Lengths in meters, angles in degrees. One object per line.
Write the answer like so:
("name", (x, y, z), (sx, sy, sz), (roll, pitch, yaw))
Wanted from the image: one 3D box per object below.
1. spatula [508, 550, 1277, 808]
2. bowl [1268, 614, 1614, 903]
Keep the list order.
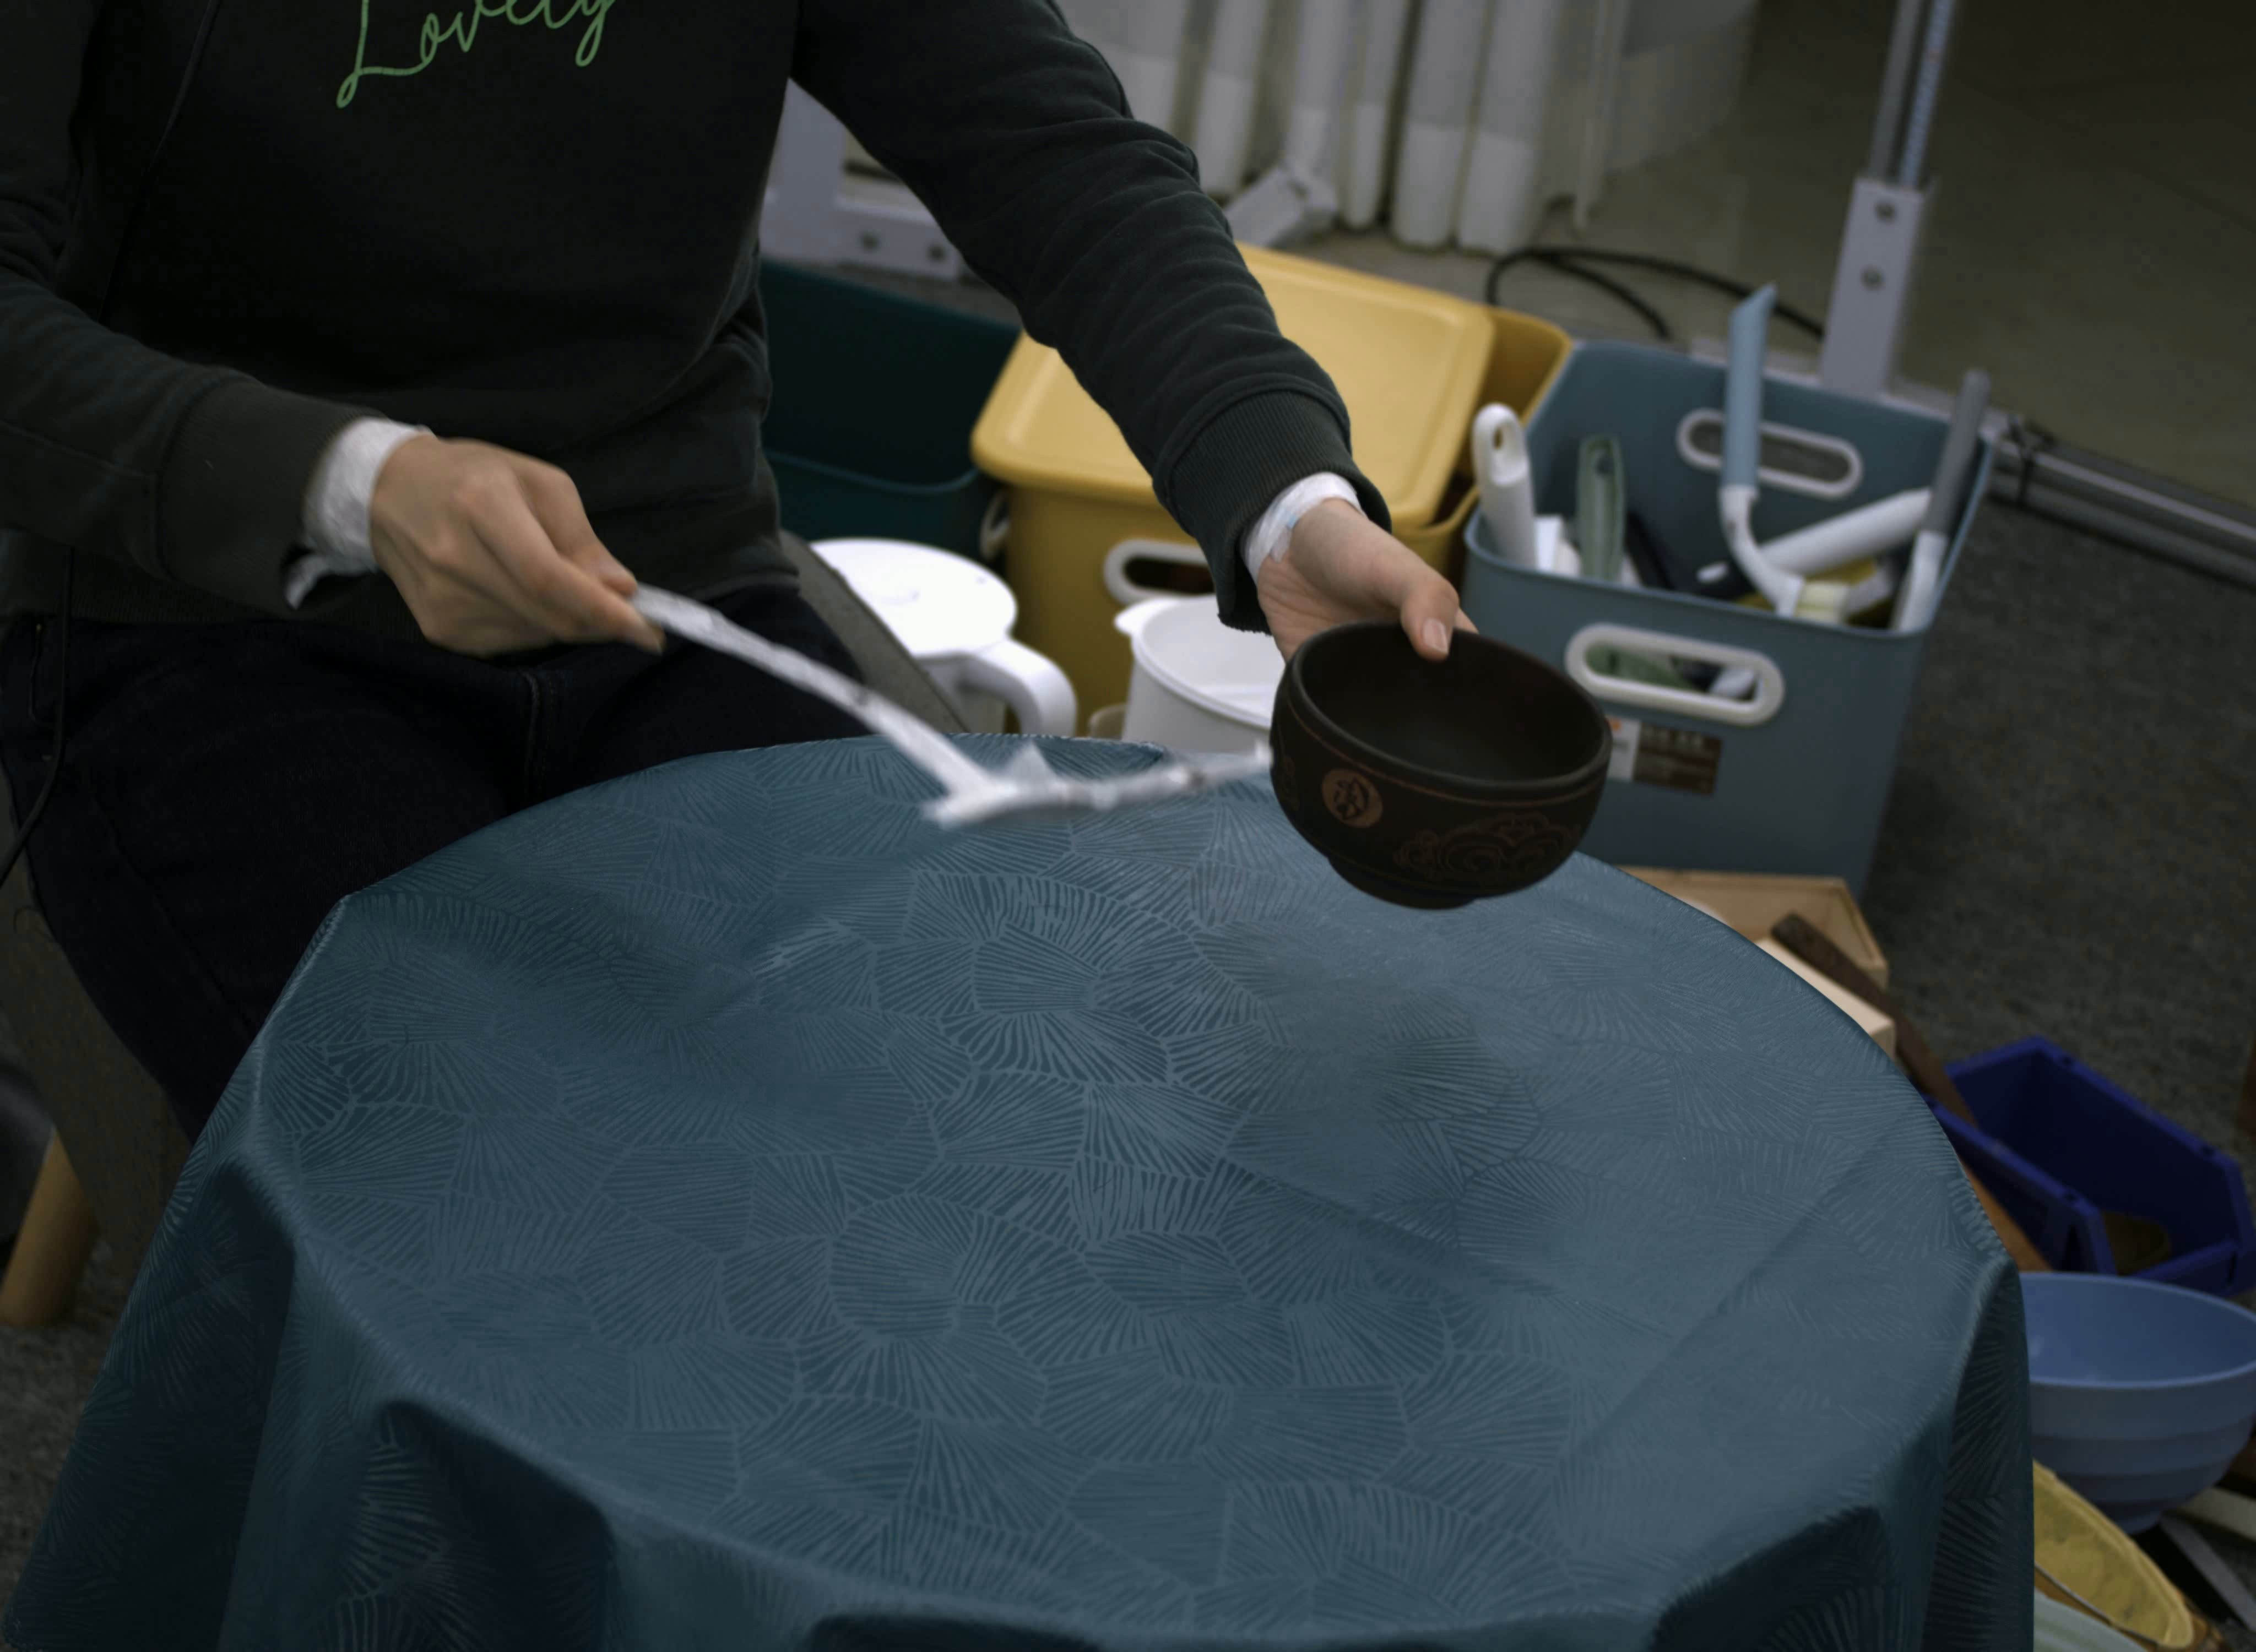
("spatula", (-0.100, -0.057, 1.752), (0.098, 0.044, 0.368), (-12, 25, -40))
("bowl", (0.104, -0.017, 1.844), (0.117, 0.069, 0.119), (11, 27, -6))
